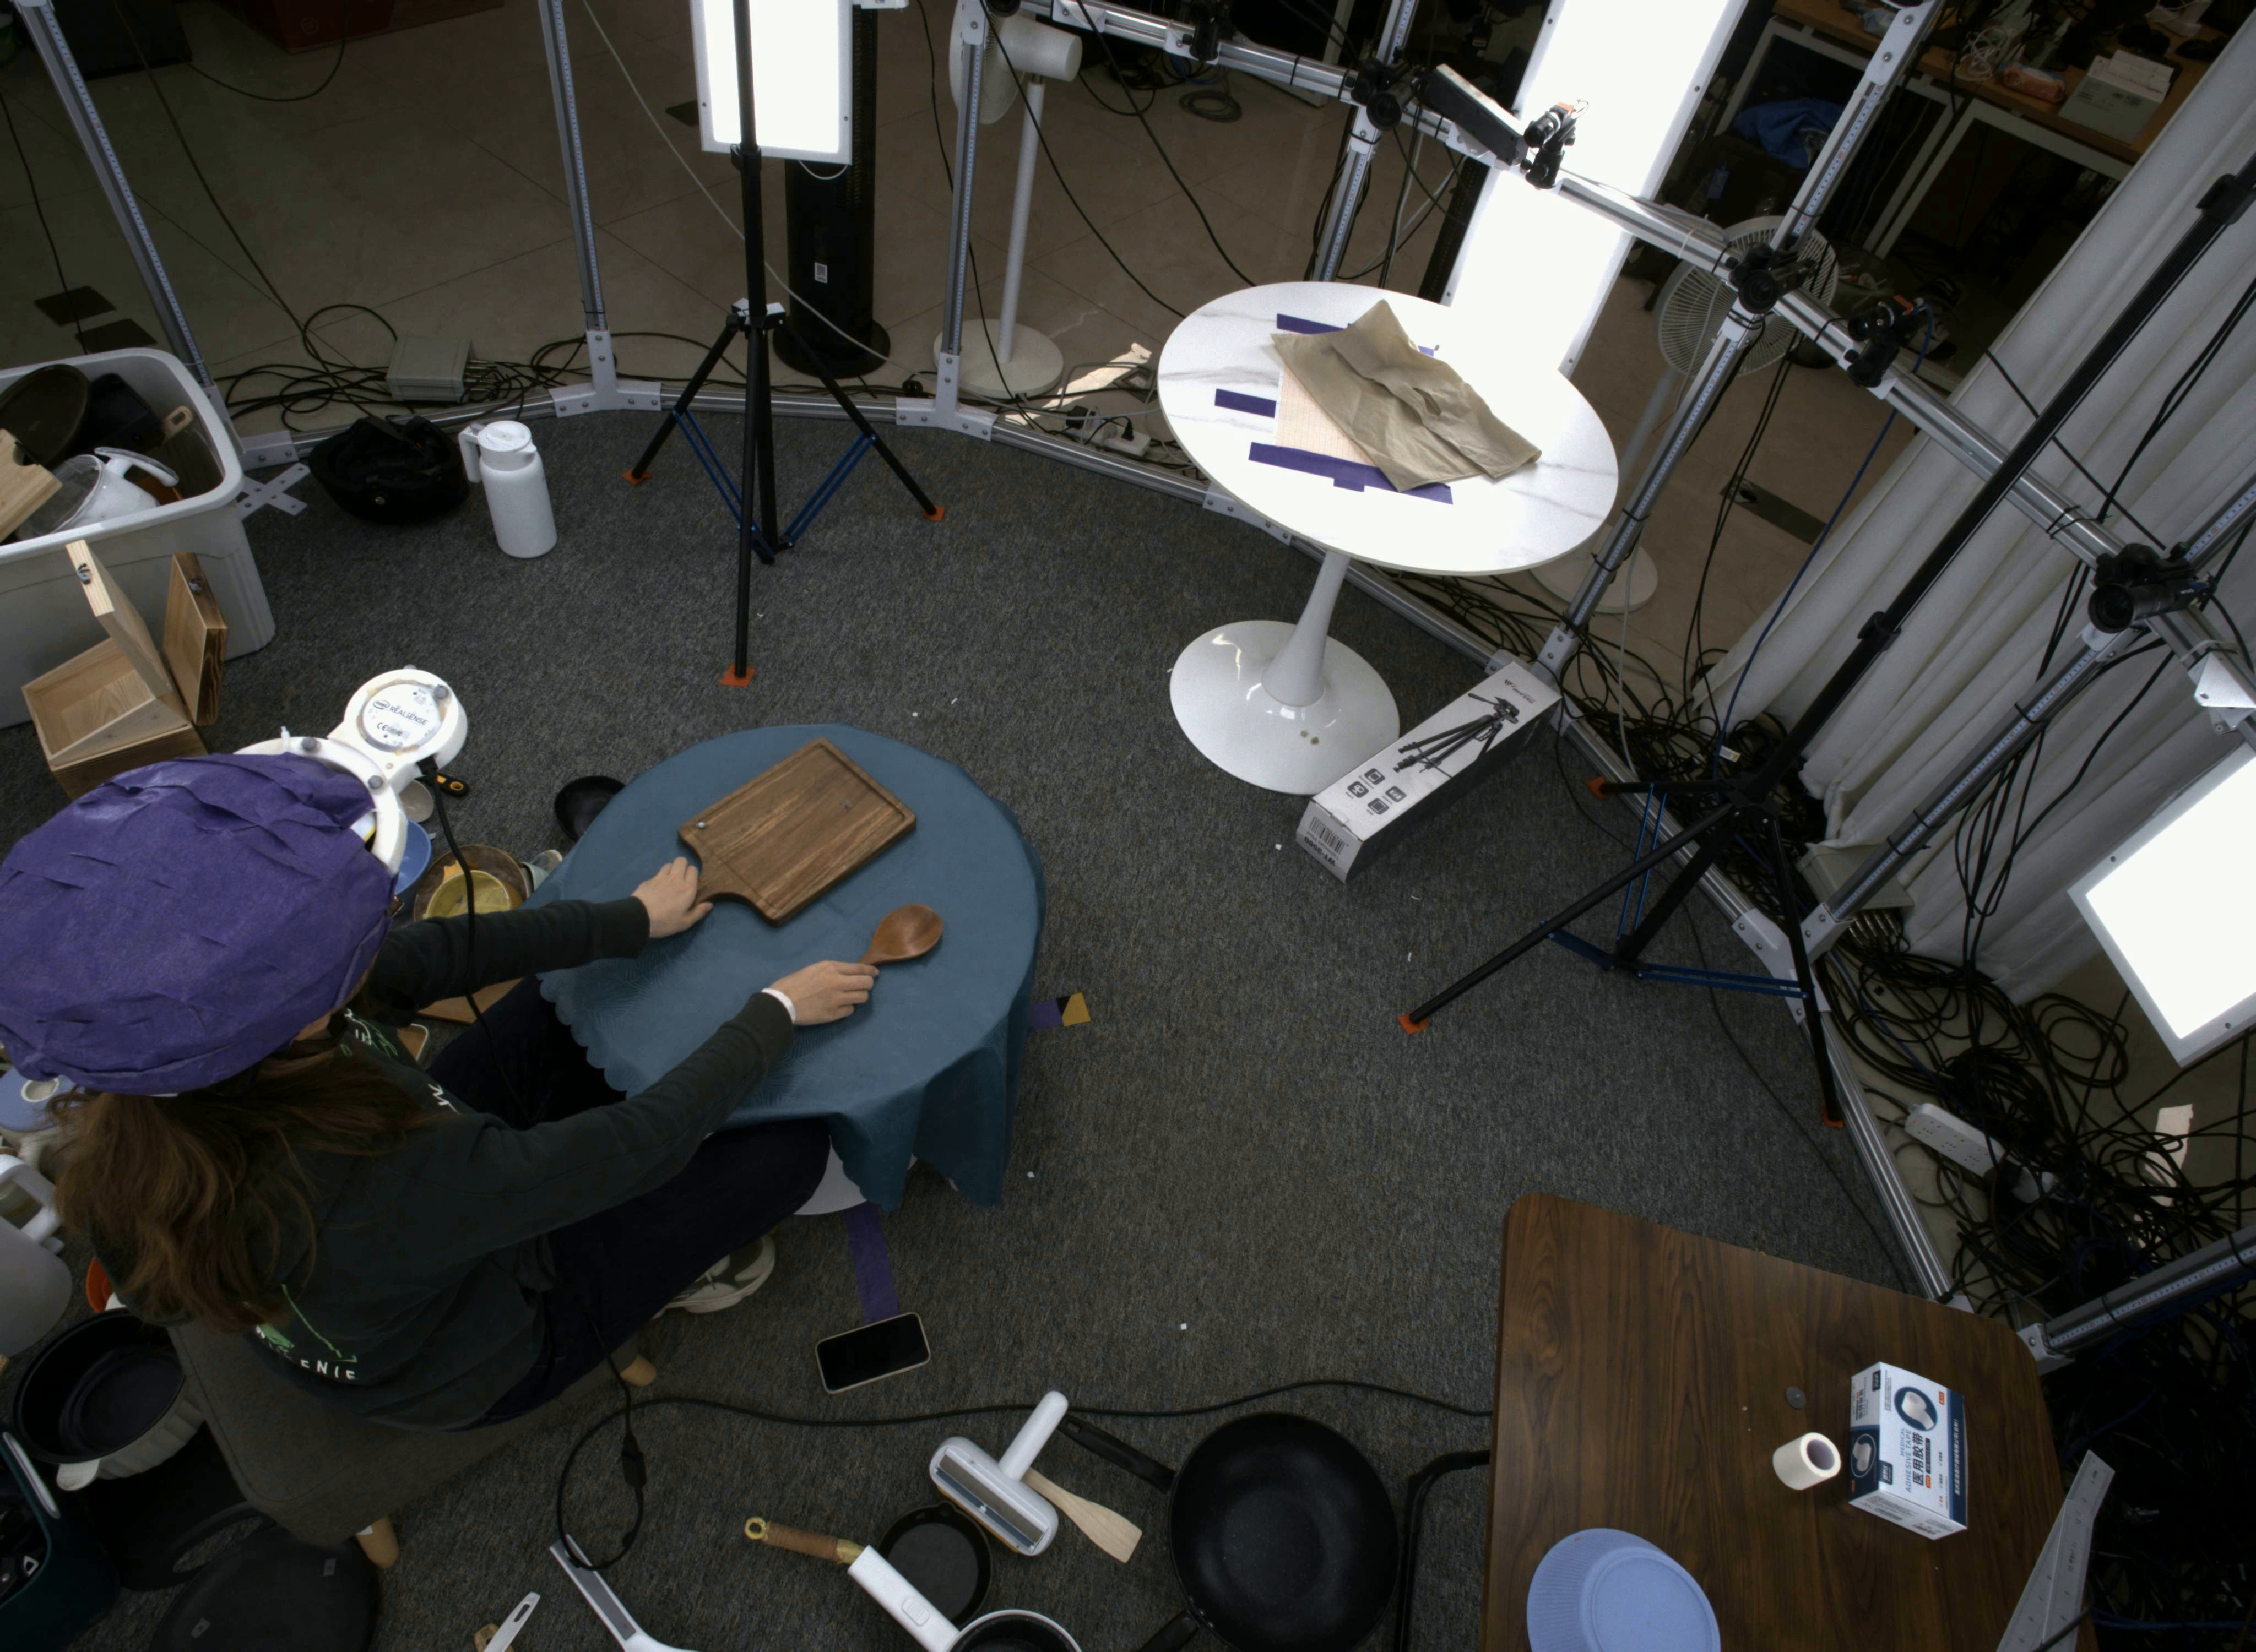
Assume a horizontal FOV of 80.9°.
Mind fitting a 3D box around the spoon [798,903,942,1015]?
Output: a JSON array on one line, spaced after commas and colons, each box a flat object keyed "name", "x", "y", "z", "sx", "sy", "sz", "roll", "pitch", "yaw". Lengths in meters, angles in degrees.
[{"name": "spoon", "x": -0.323, "y": 0.165, "z": 1.621, "sx": 0.074, "sy": 0.017, "sz": 0.216, "roll": 43, "pitch": 55, "yaw": 16}]

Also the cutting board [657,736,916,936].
[{"name": "cutting board", "x": -0.467, "y": 0.027, "z": 1.687, "sx": 0.197, "sy": 0.023, "sz": 0.352, "roll": 40, "pitch": 55, "yaw": 14}]
